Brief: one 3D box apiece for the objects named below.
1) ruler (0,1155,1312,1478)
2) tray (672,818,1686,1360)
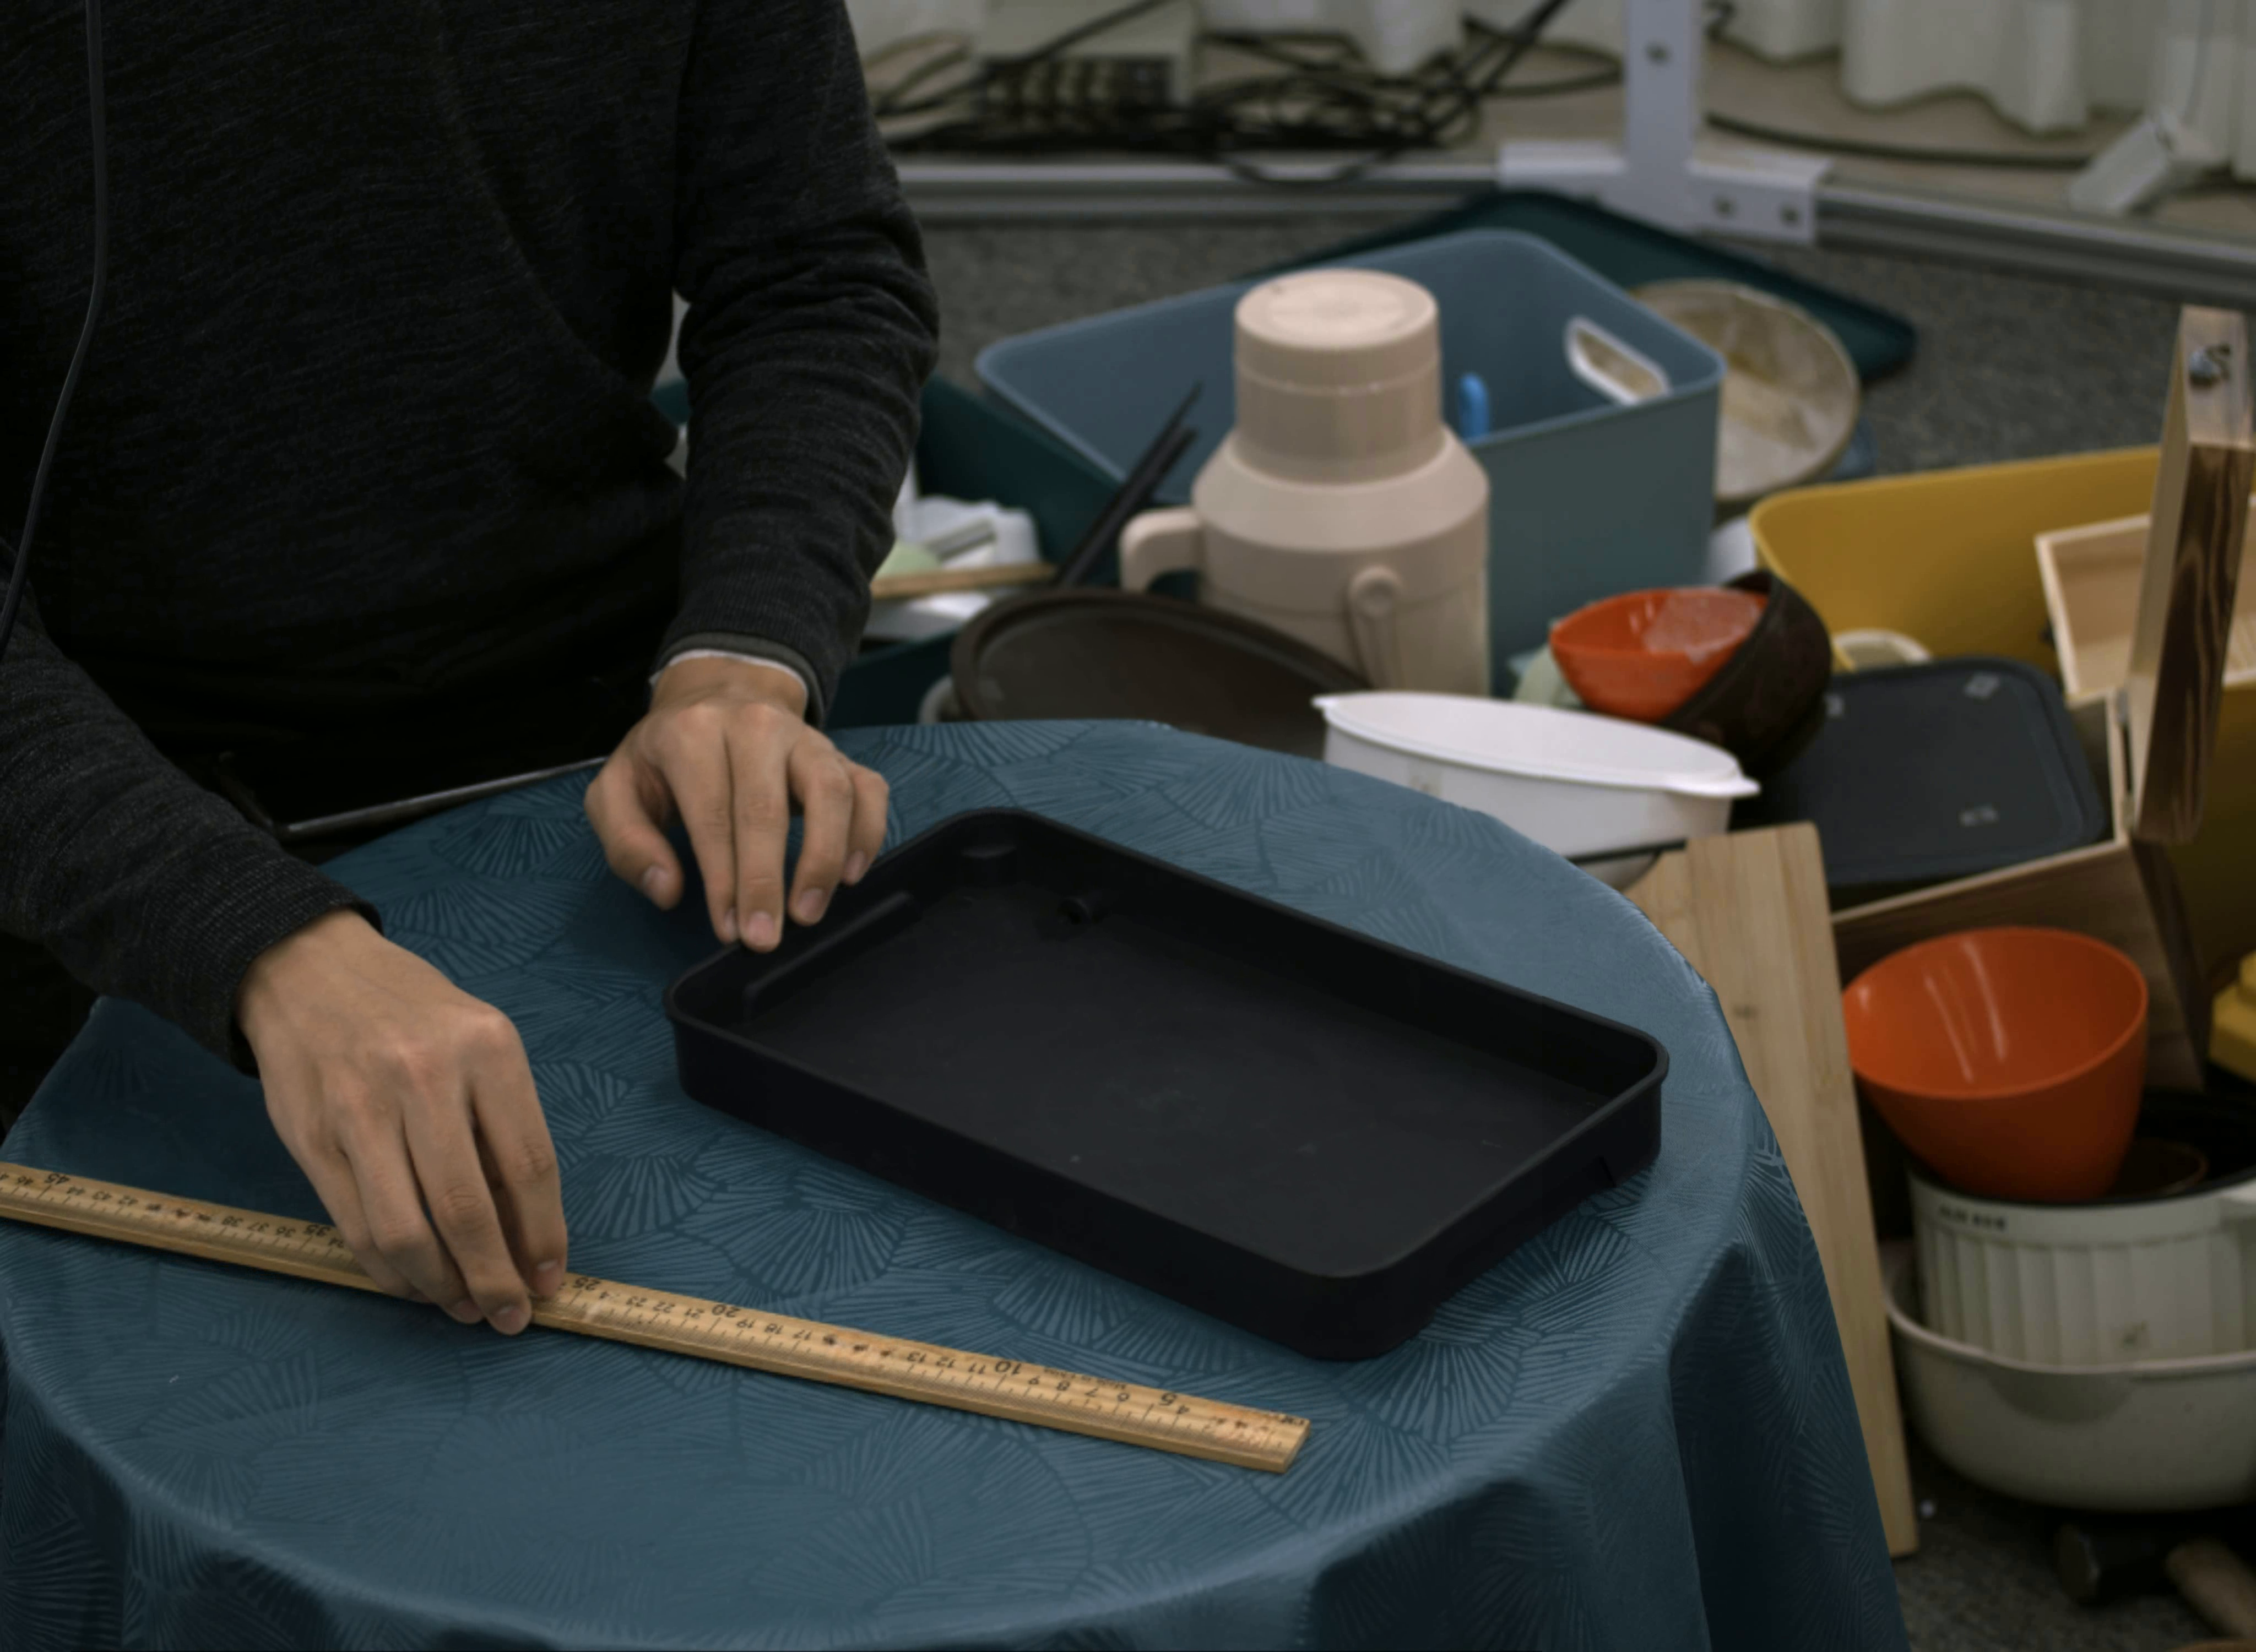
[{"bbox_3d":[-0.176,0.153,1.805,0.497,0.006,0.027,9,36,21],"label":"ruler"},{"bbox_3d":[0.015,0.083,1.896,0.317,0.036,0.187,18,33,36],"label":"tray"}]
